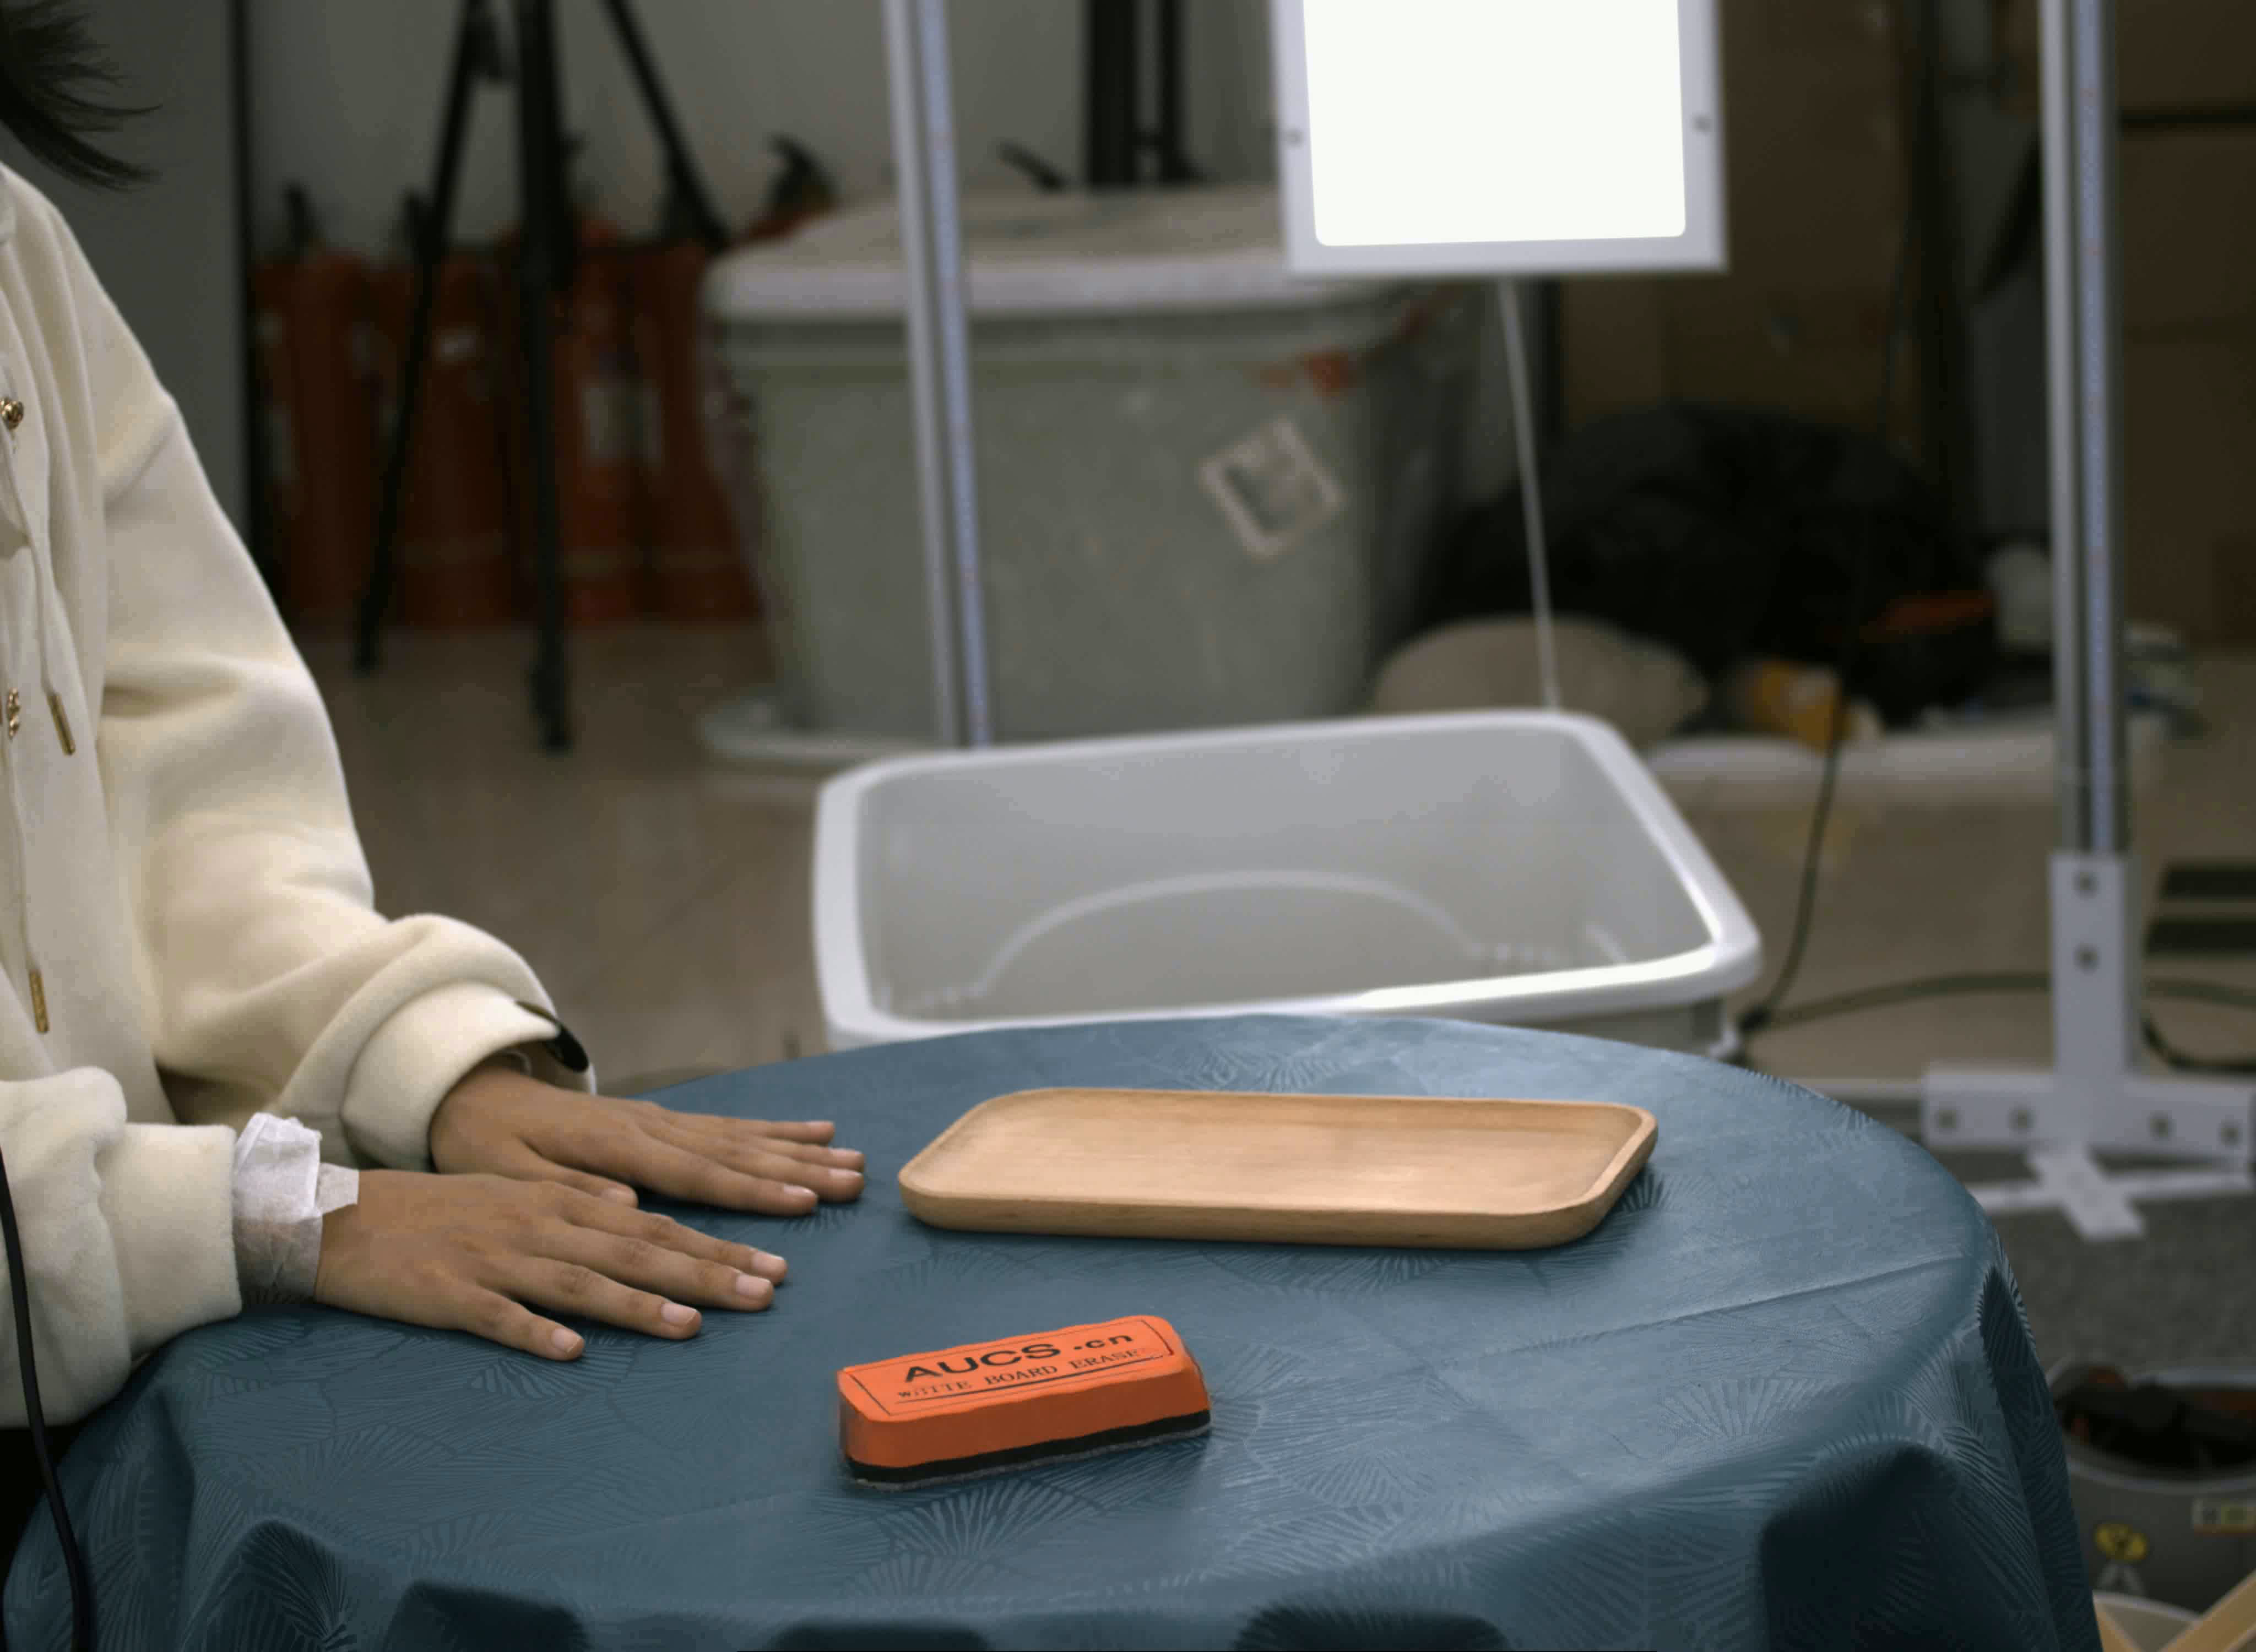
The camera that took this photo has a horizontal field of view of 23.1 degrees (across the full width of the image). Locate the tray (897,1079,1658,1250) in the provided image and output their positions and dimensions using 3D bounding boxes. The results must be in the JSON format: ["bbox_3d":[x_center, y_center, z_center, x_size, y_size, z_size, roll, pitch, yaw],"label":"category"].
[{"bbox_3d":[0.051,0.115,1.887,0.254,0.023,0.128,0,12,23],"label":"tray"}]

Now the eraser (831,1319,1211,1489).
[{"bbox_3d":[-0.032,0.174,1.667,0.106,0.023,0.059,-8,15,-14],"label":"eraser"}]
